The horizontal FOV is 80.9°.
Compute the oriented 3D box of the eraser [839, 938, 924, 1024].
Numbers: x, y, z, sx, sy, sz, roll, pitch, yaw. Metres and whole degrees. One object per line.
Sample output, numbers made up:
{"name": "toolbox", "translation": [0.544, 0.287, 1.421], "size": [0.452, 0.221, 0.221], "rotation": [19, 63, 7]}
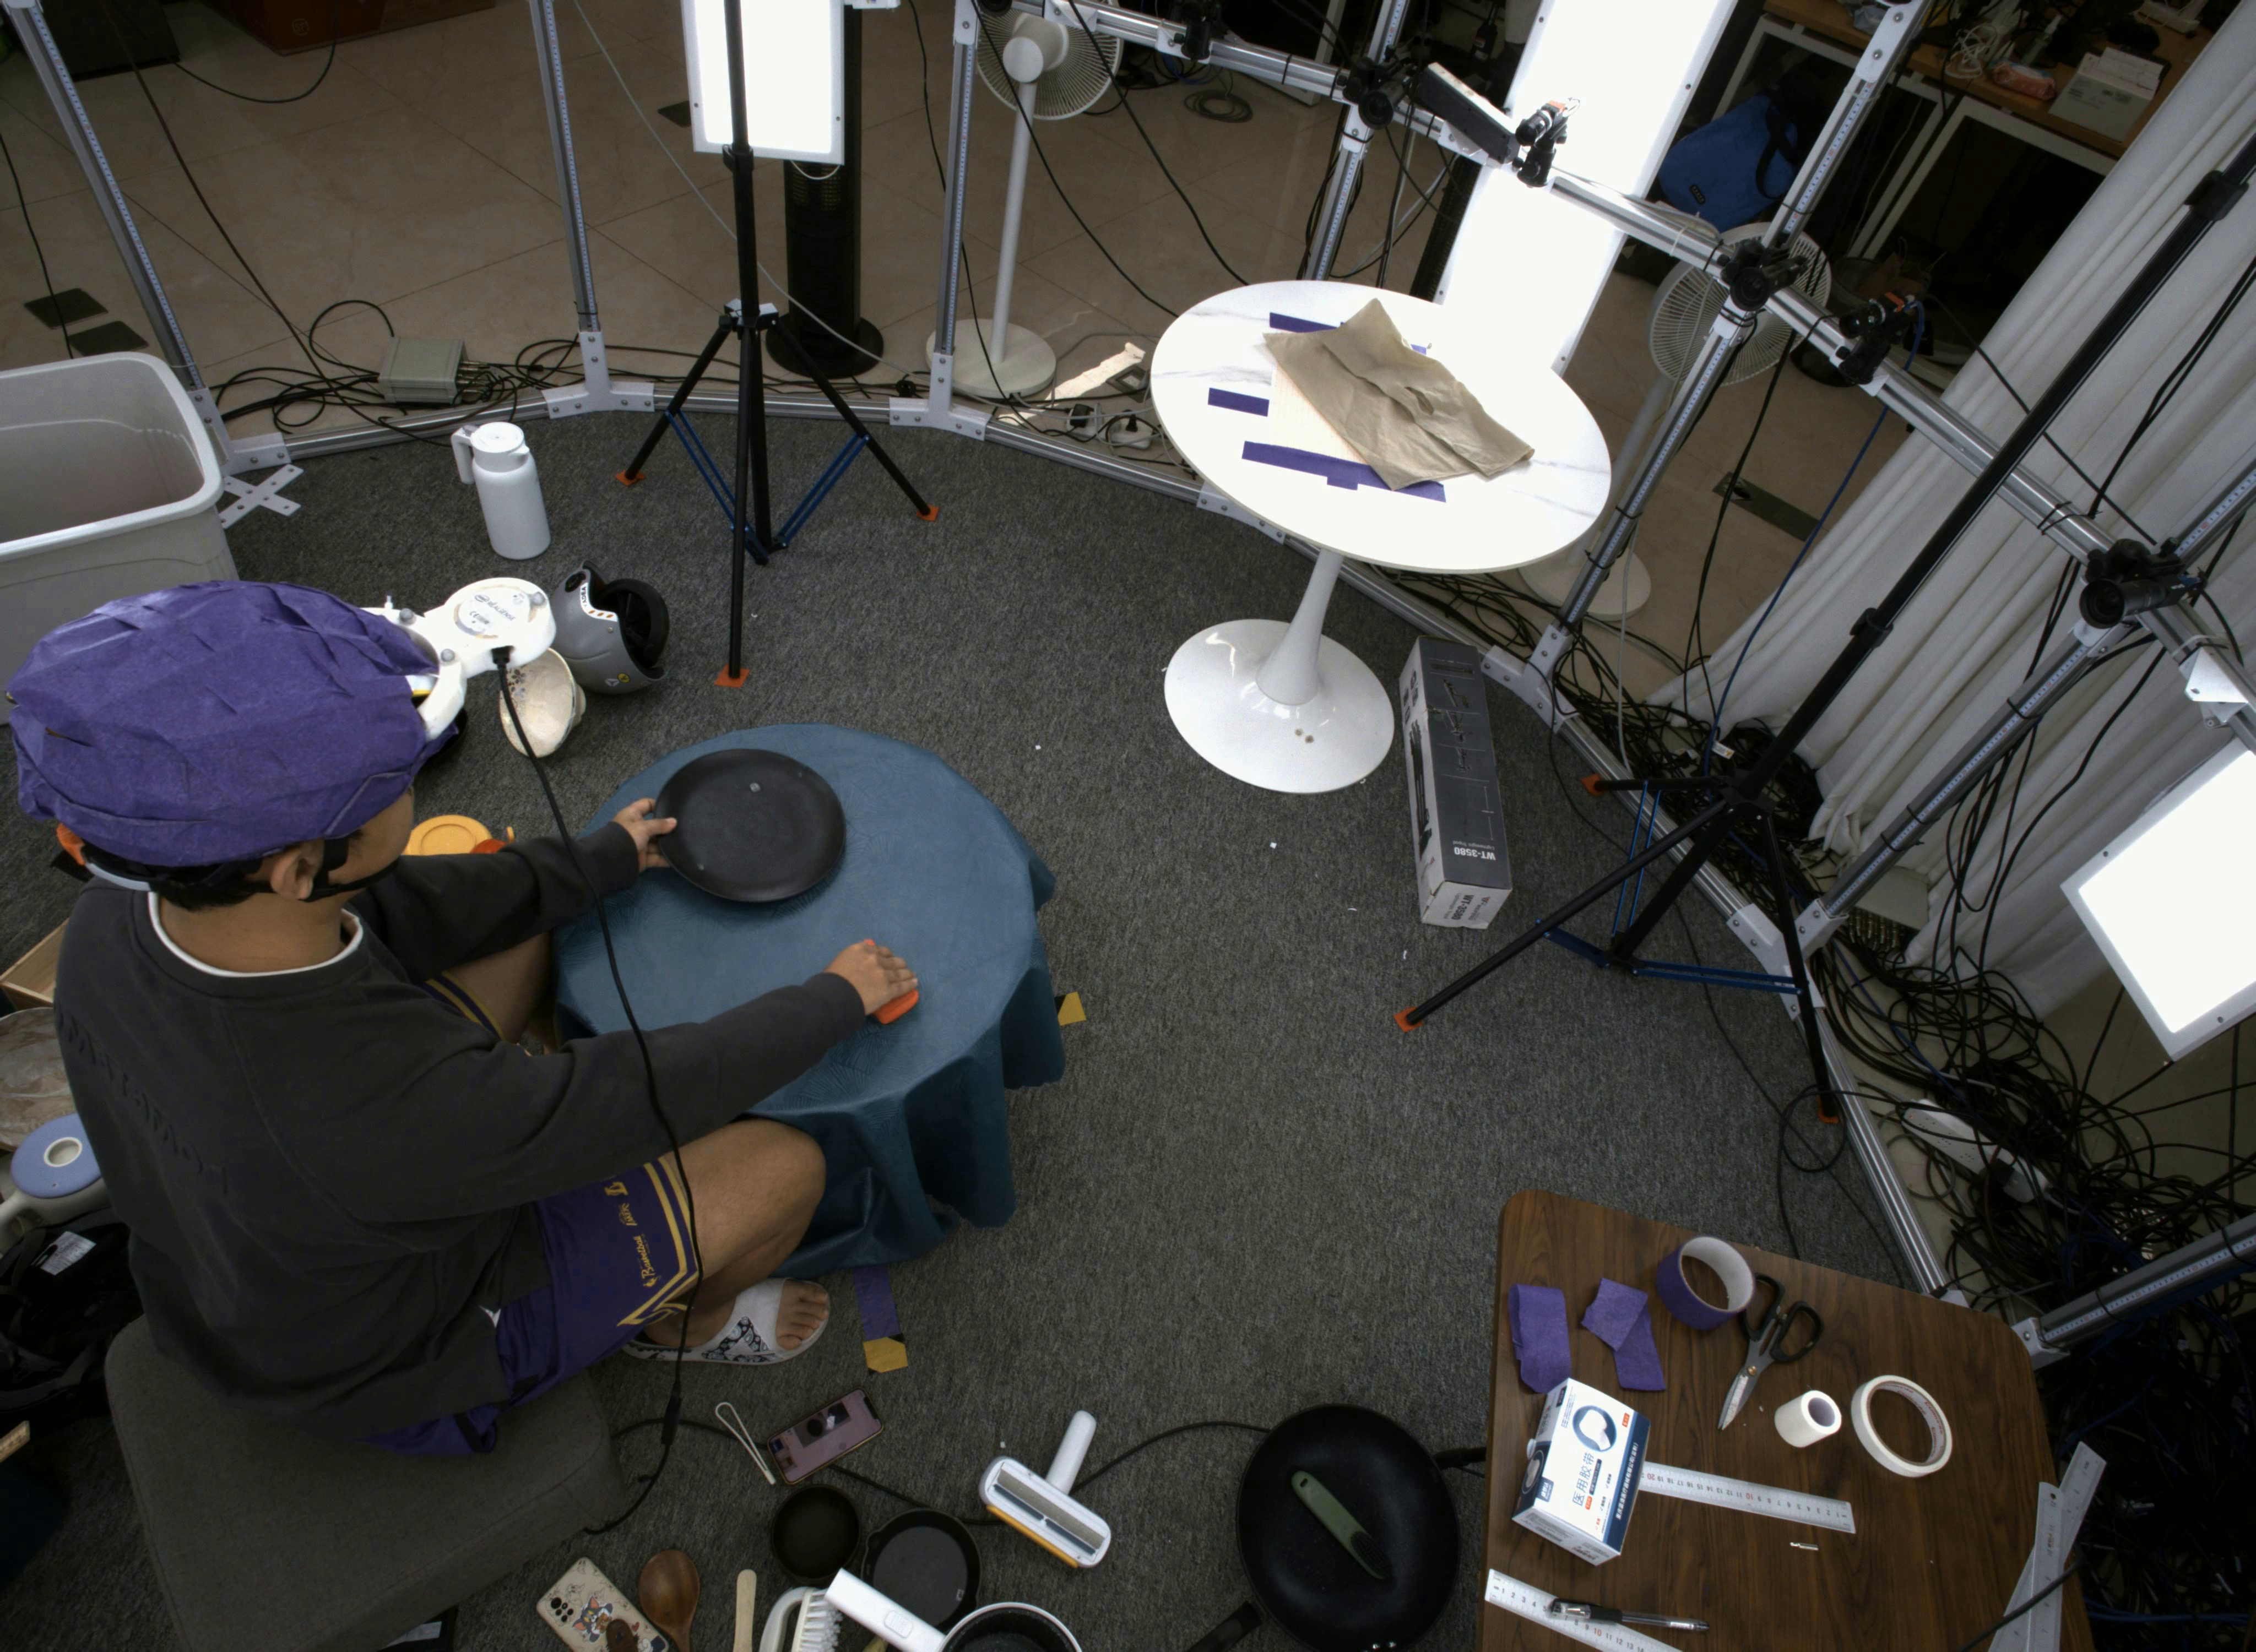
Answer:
{"name": "eraser", "translation": [-0.304, 0.187, 1.599], "size": [0.059, 0.023, 0.105], "rotation": [-34, 65, -31]}

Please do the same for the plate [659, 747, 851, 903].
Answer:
{"name": "plate", "translation": [-0.483, 0.000, 1.680], "size": [0.246, 0.023, 0.240], "rotation": [13, 53, -16]}
